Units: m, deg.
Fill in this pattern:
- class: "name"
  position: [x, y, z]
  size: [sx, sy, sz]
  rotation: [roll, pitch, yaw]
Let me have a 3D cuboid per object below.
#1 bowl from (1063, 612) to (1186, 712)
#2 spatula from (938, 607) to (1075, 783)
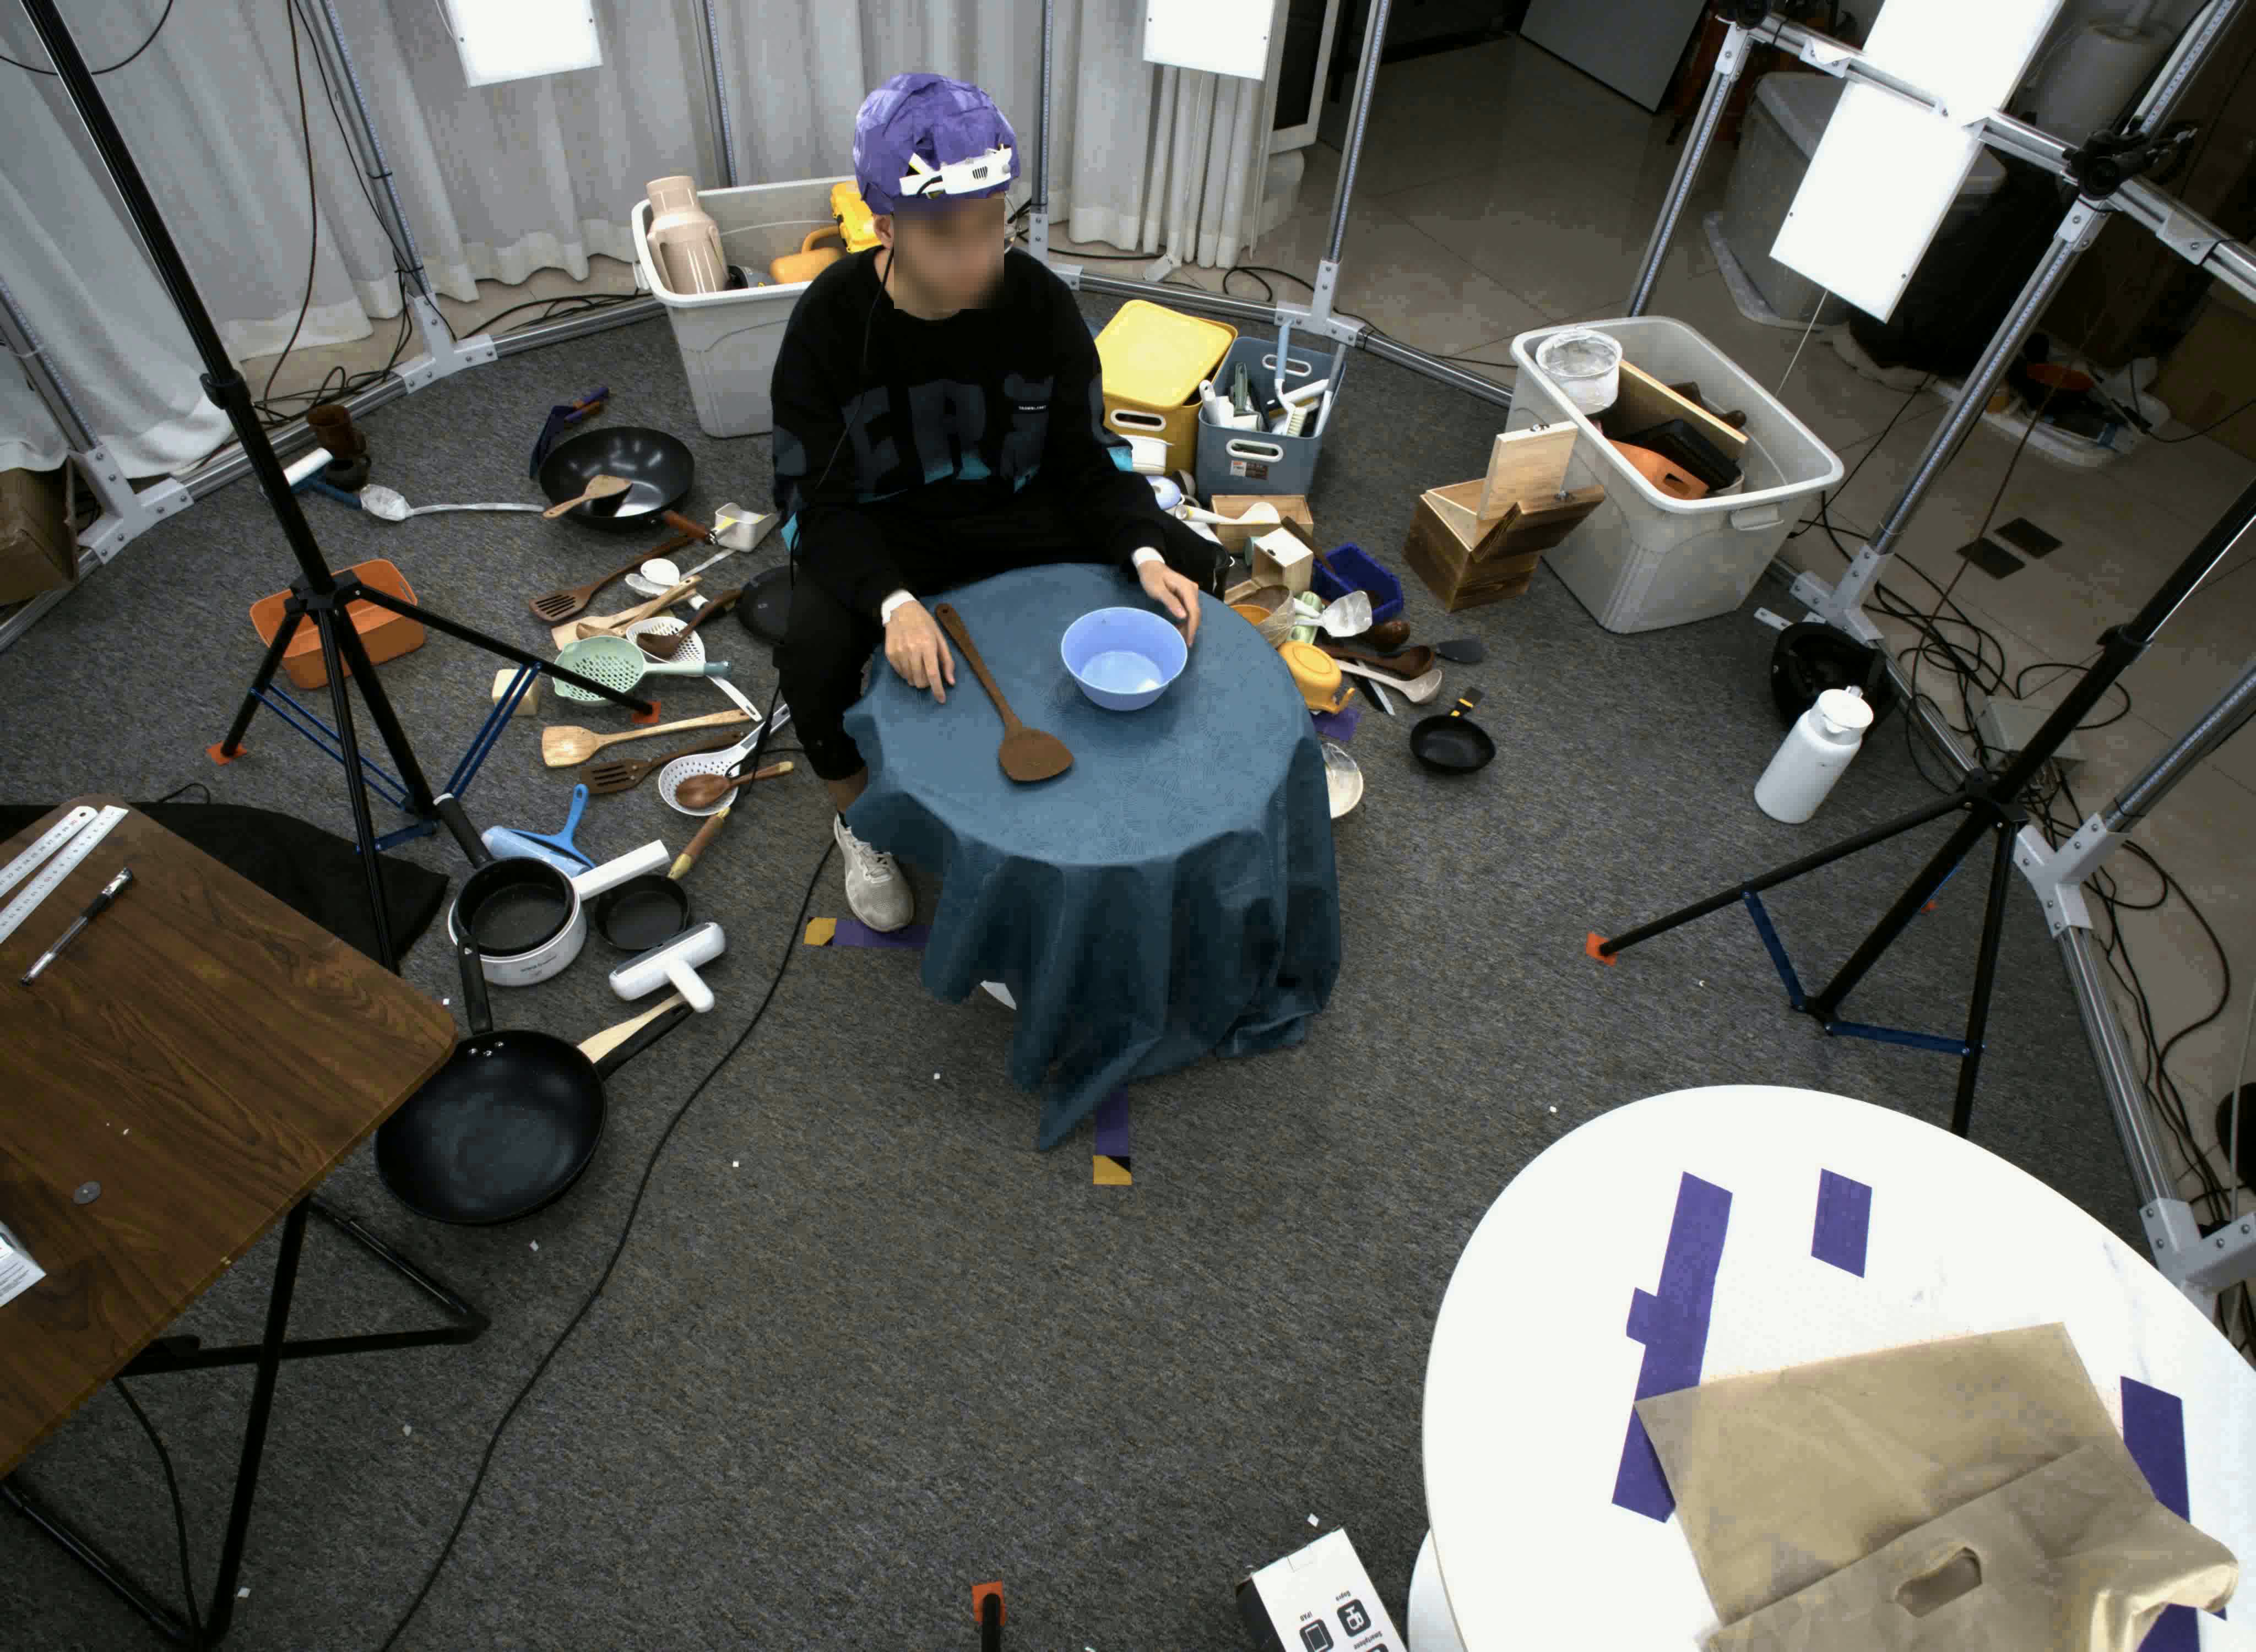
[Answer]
- class: "bowl"
  position: [-0.006, -0.225, 1.836]
  size: [0.176, 0.068, 0.180]
  rotation: [2, 47, -2]
- class: "spatula"
  position: [-0.193, -0.197, 1.834]
  size: [0.096, 0.015, 0.394]
  rotation: [-18, 52, -19]
